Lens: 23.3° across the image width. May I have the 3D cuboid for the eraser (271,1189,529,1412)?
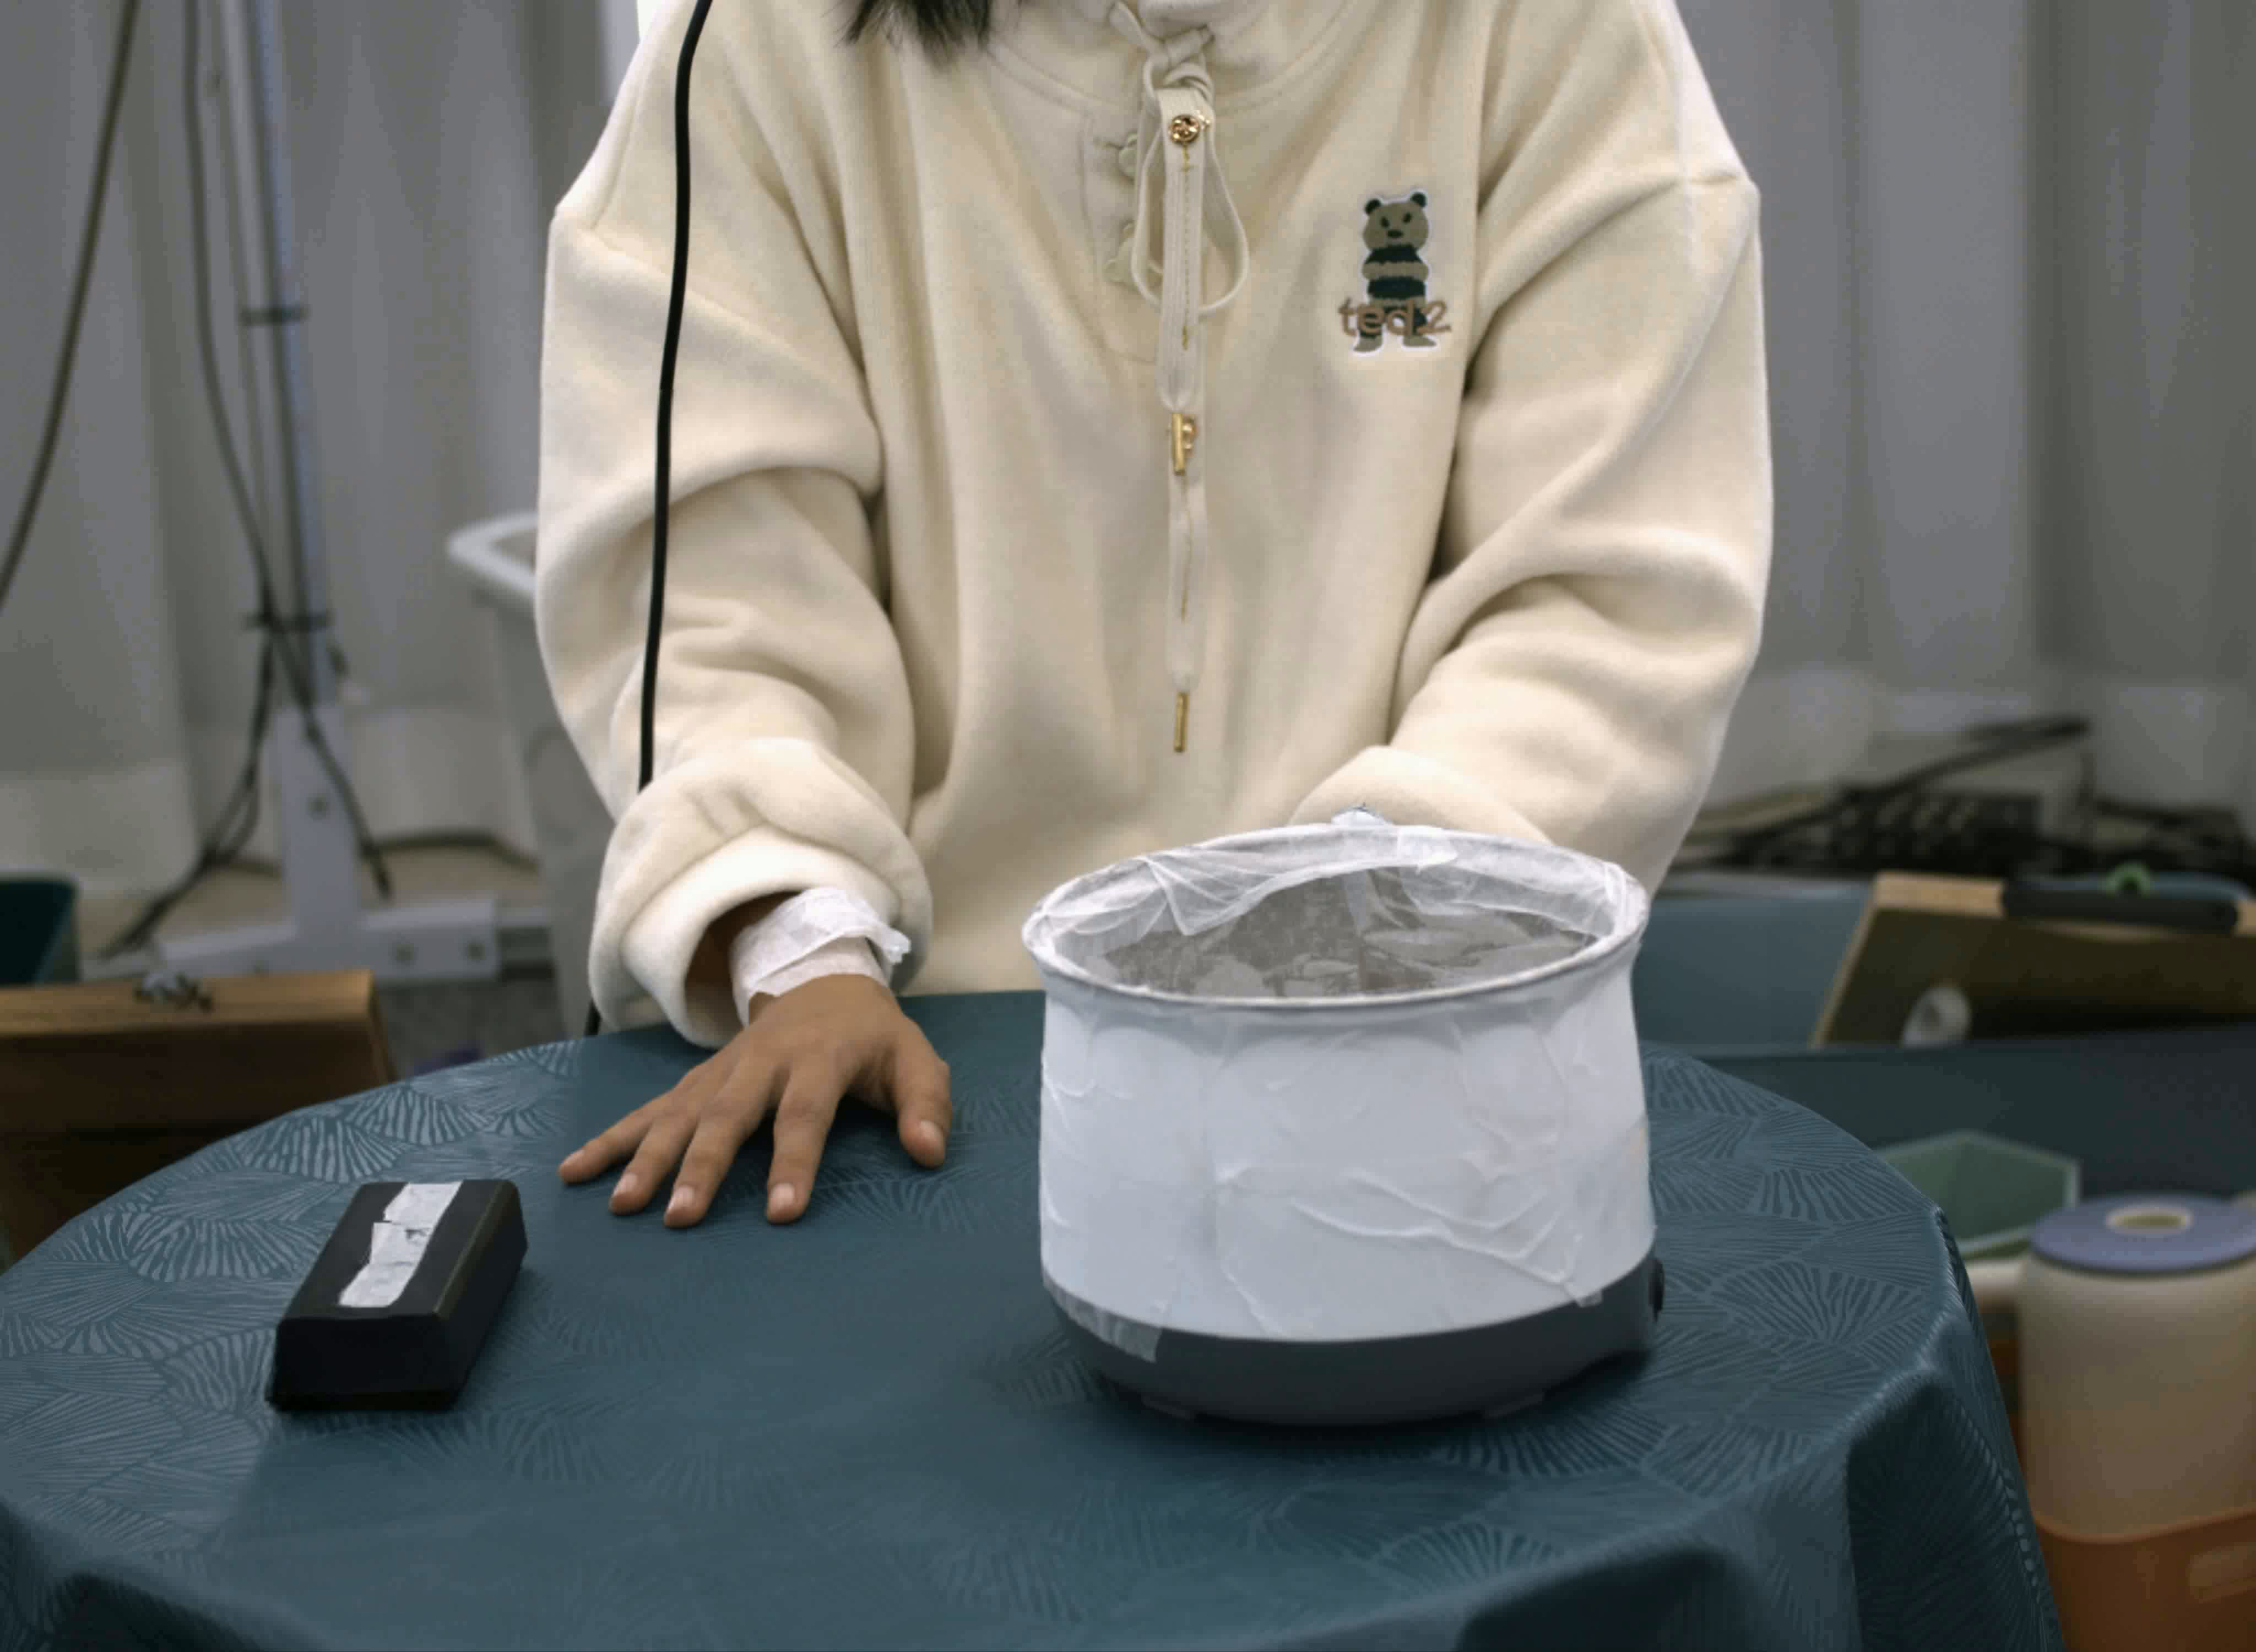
[{"bbox_3d":[-0.212,0.139,1.612,0.053,0.030,0.126,-1,14,4],"label":"eraser"}]

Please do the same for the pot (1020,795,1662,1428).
[{"bbox_3d":[0.063,0.076,1.576,0.178,0.136,0.235,-1,15,5],"label":"pot"}]
